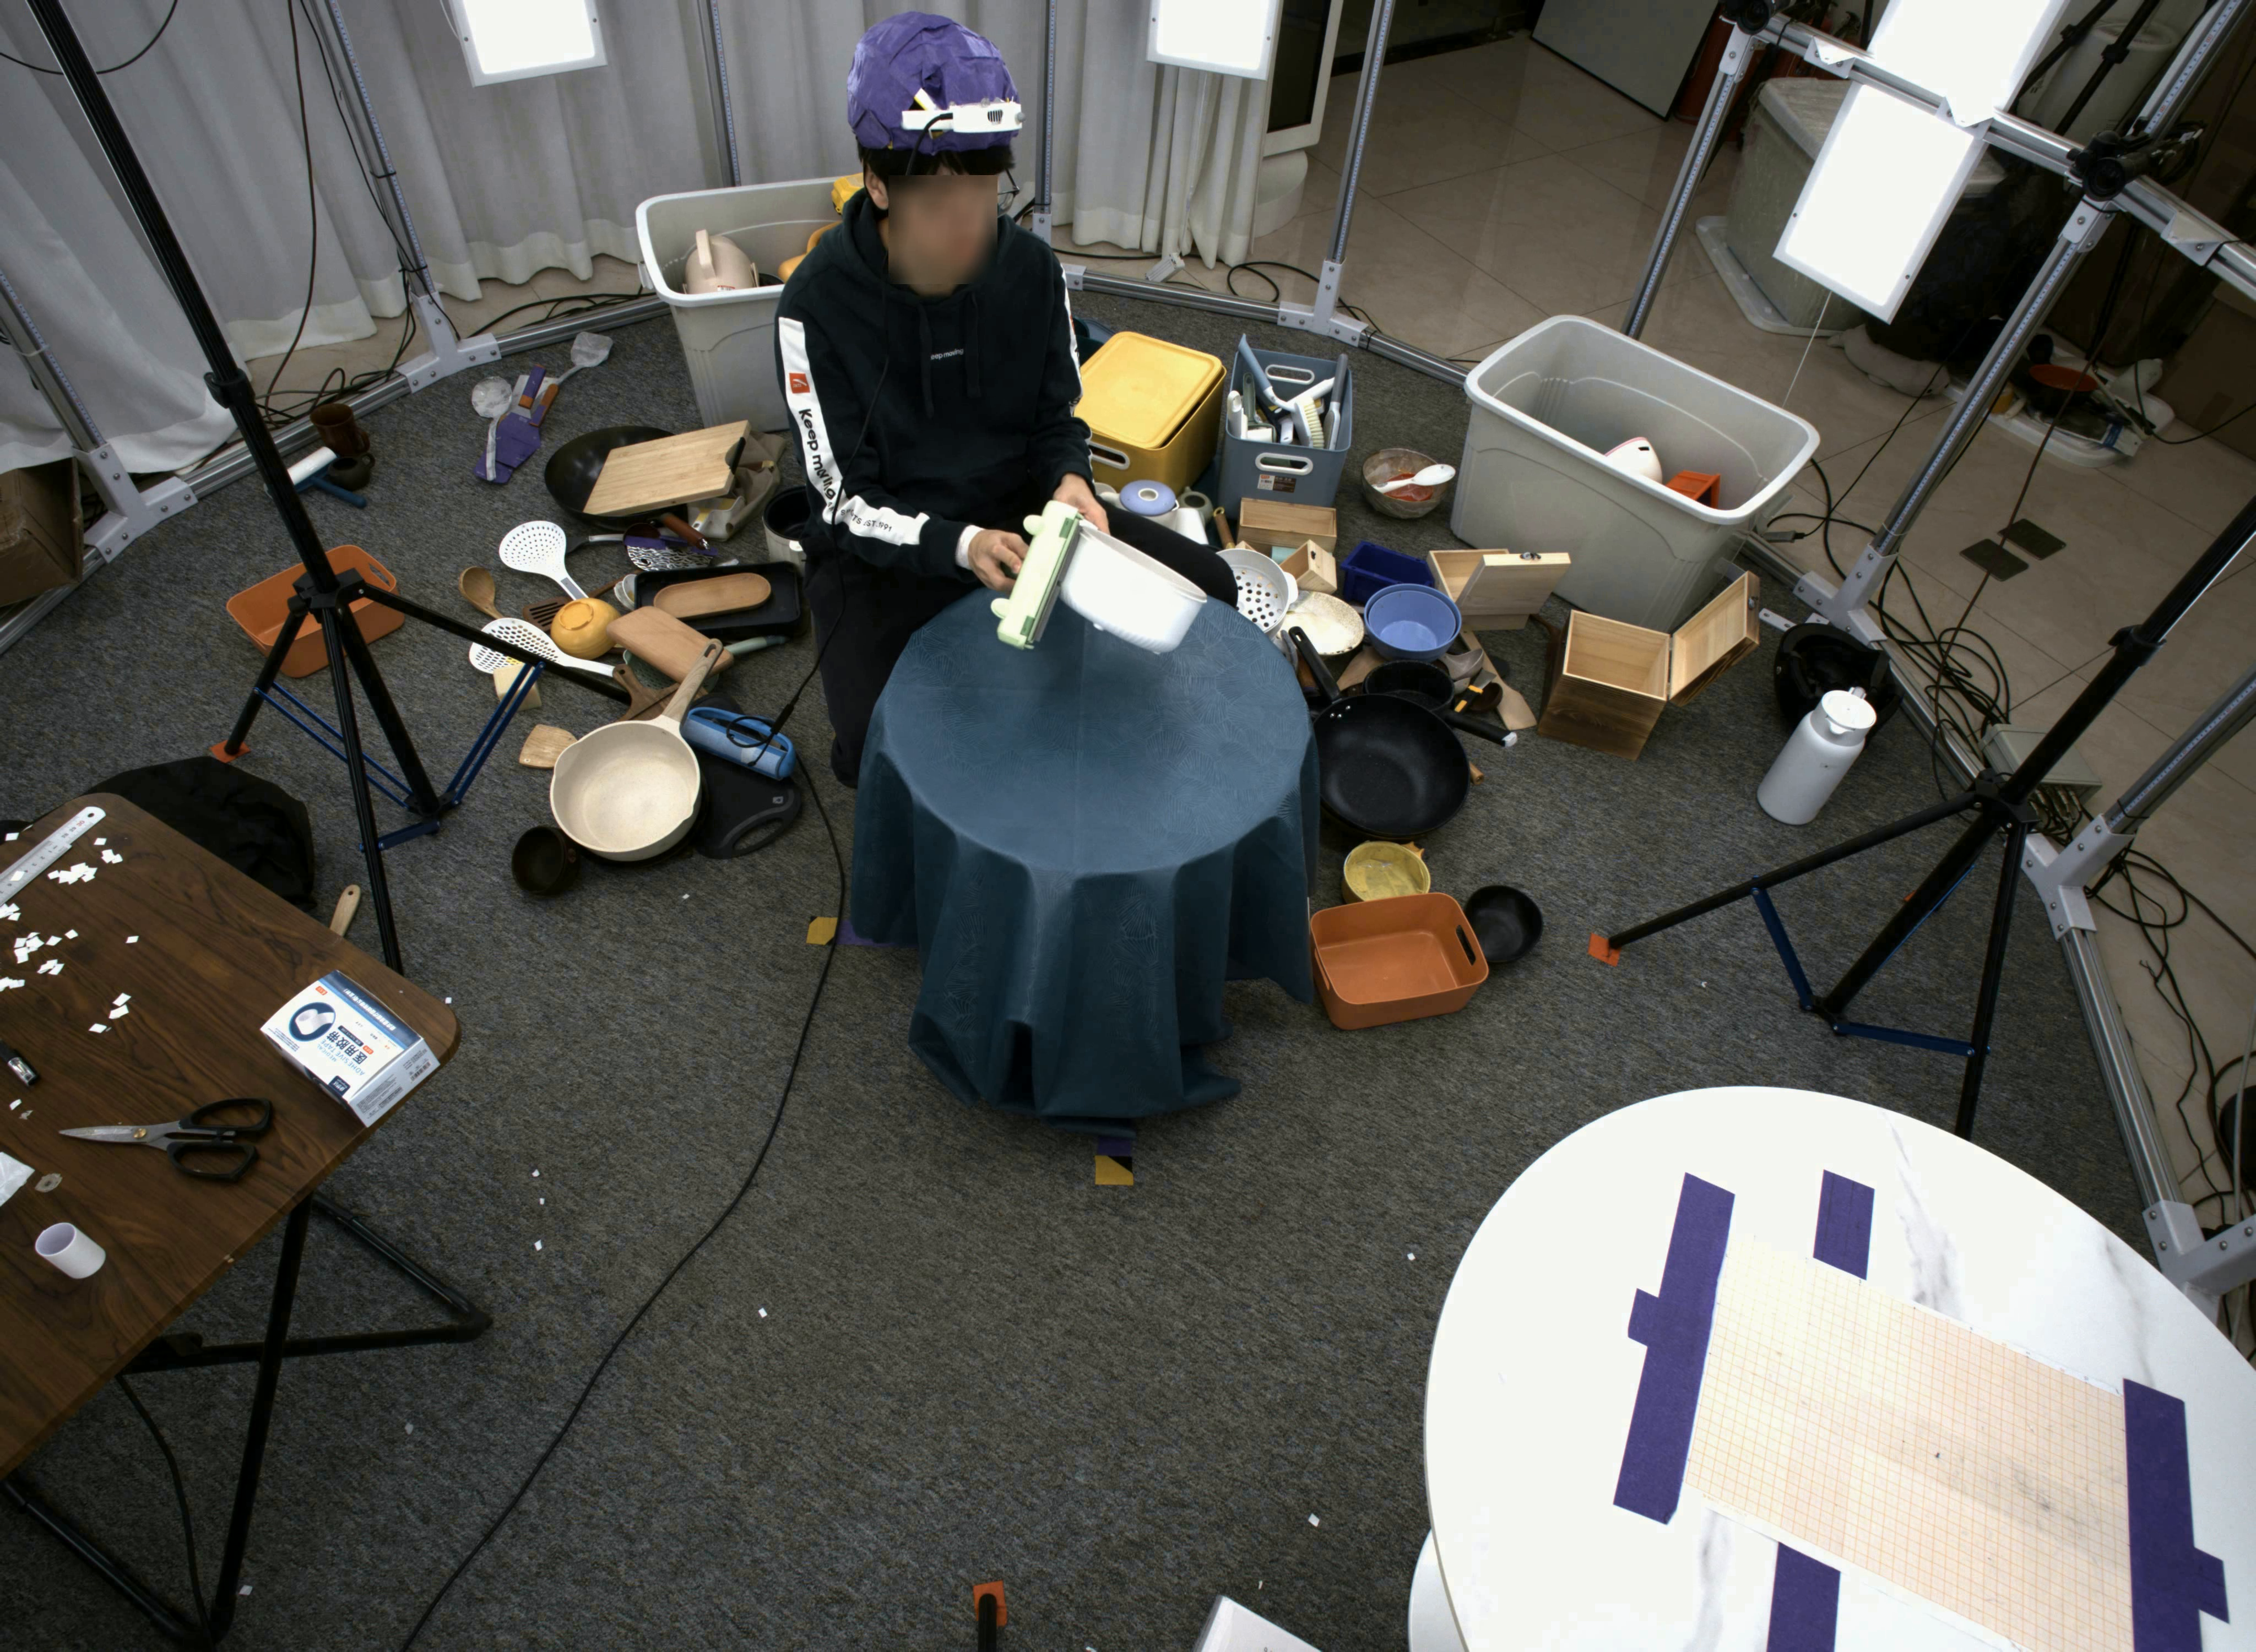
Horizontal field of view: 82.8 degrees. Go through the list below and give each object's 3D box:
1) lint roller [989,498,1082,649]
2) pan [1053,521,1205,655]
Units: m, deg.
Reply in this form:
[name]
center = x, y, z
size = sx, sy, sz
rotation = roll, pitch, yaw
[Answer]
[lint roller]
center = -0.154, -0.349, 1.727
size = 0.081, 0.198, 0.186
rotation = 18, 6, -41
[pan]
center = -0.042, -0.350, 1.804
size = 0.199, 0.101, 0.362
rotation = 15, 19, -38
